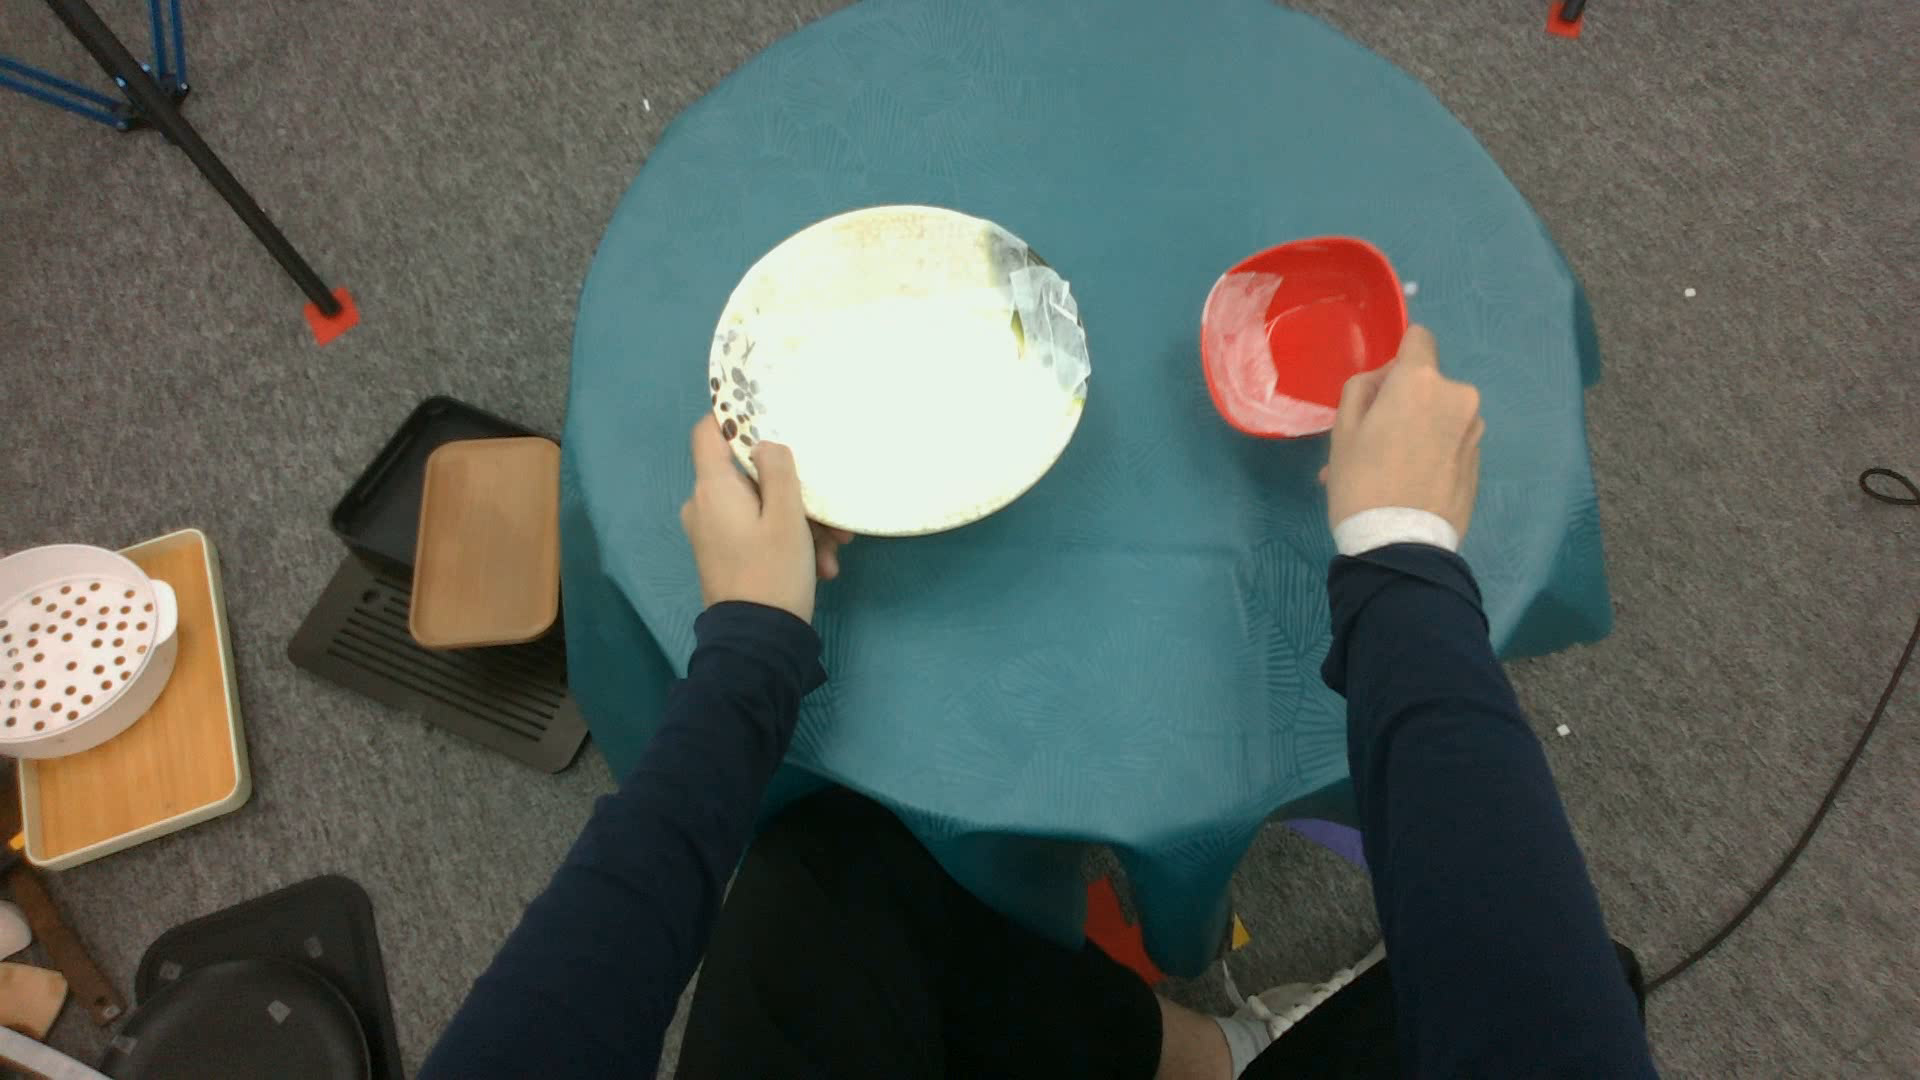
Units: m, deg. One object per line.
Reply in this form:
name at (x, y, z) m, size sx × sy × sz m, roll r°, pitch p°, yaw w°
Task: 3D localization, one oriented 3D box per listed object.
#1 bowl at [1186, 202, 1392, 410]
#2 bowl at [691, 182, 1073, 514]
bowl at (0.185, -0.122, 0.753) m, size 0.118 × 0.051 × 0.119 m, roll -5°, pitch 80°, yaw 31°
bowl at (-0.041, -0.094, 0.764) m, size 0.204 × 0.077 × 0.204 m, roll 0°, pitch 67°, yaw 1°
